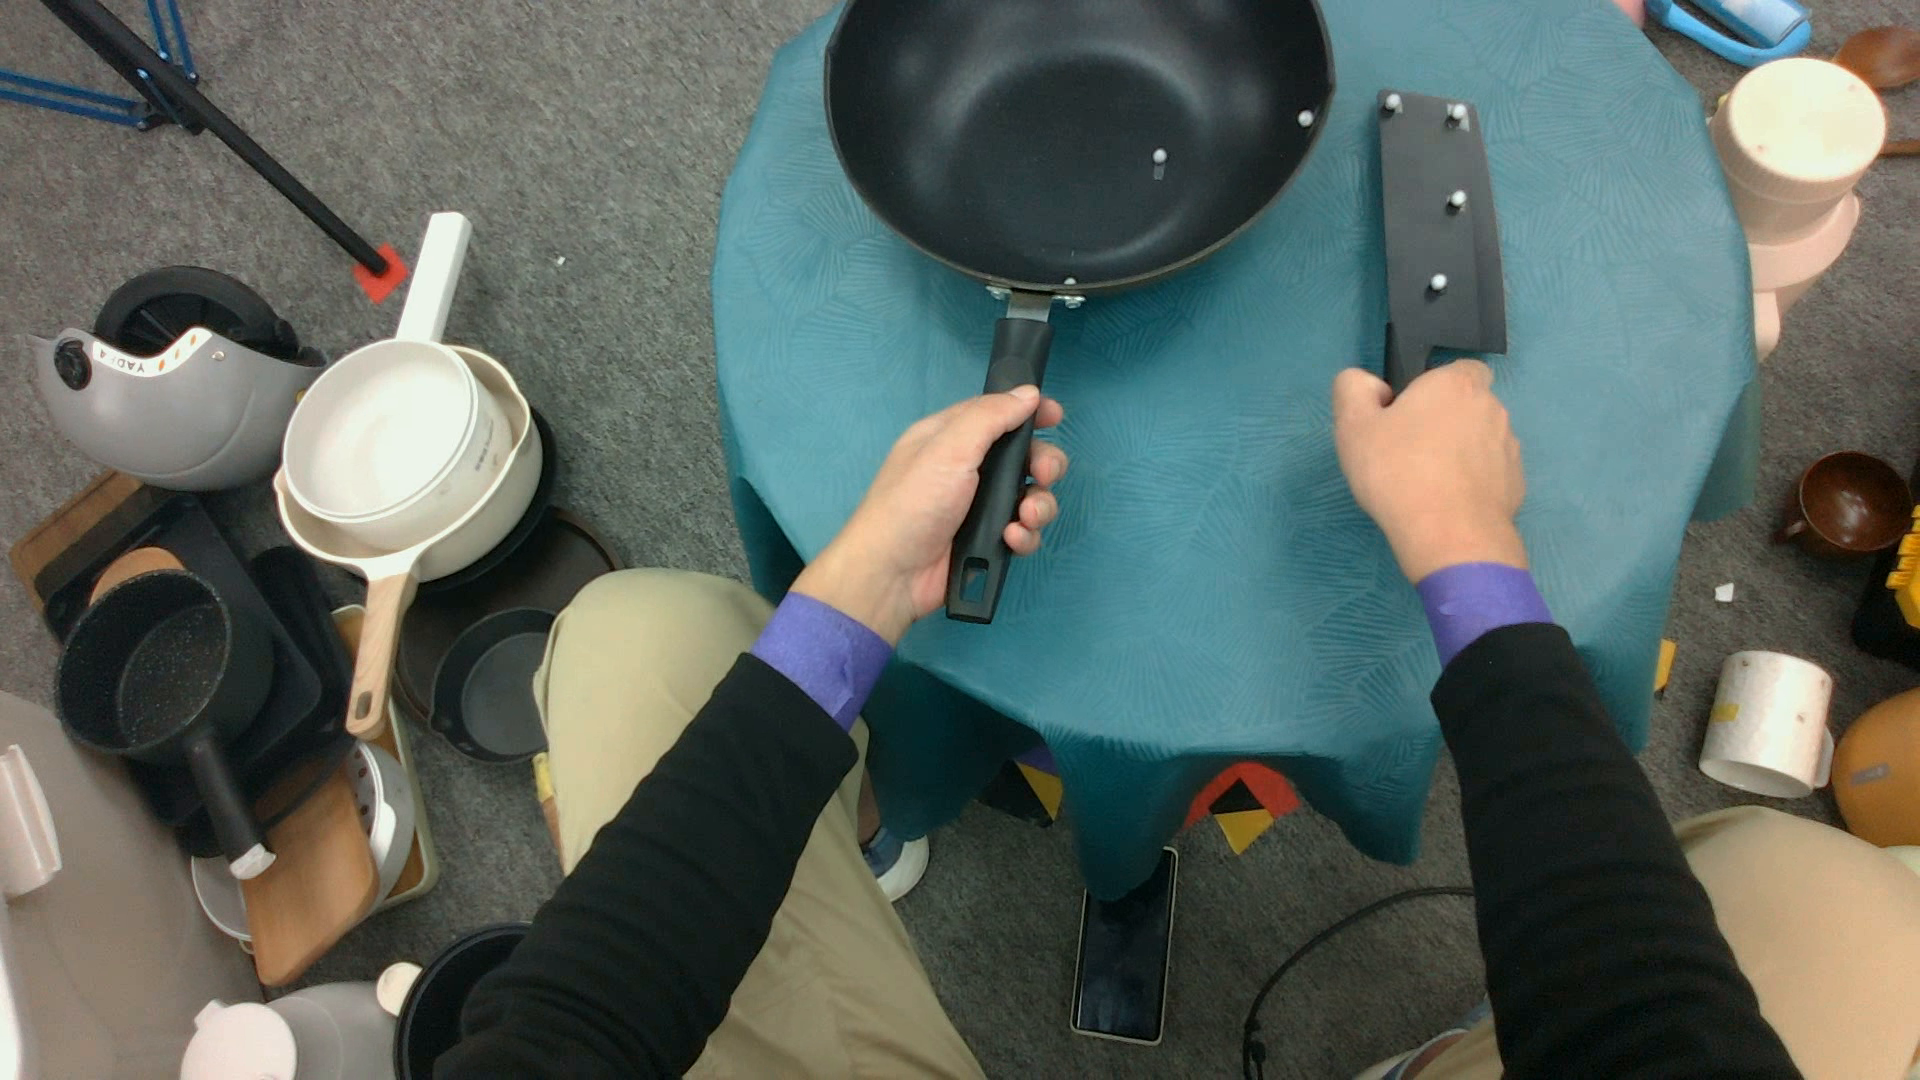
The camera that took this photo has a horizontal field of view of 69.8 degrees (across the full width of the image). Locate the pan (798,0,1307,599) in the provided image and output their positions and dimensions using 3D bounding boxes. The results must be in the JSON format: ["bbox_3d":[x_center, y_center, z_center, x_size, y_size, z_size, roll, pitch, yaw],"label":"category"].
[{"bbox_3d":[0.036,-0.178,0.778,0.288,0.086,0.464,8,72,8],"label":"pan"}]

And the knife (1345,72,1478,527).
[{"bbox_3d":[0.249,-0.144,0.762,0.081,0.021,0.303,11,63,-4],"label":"knife"}]
